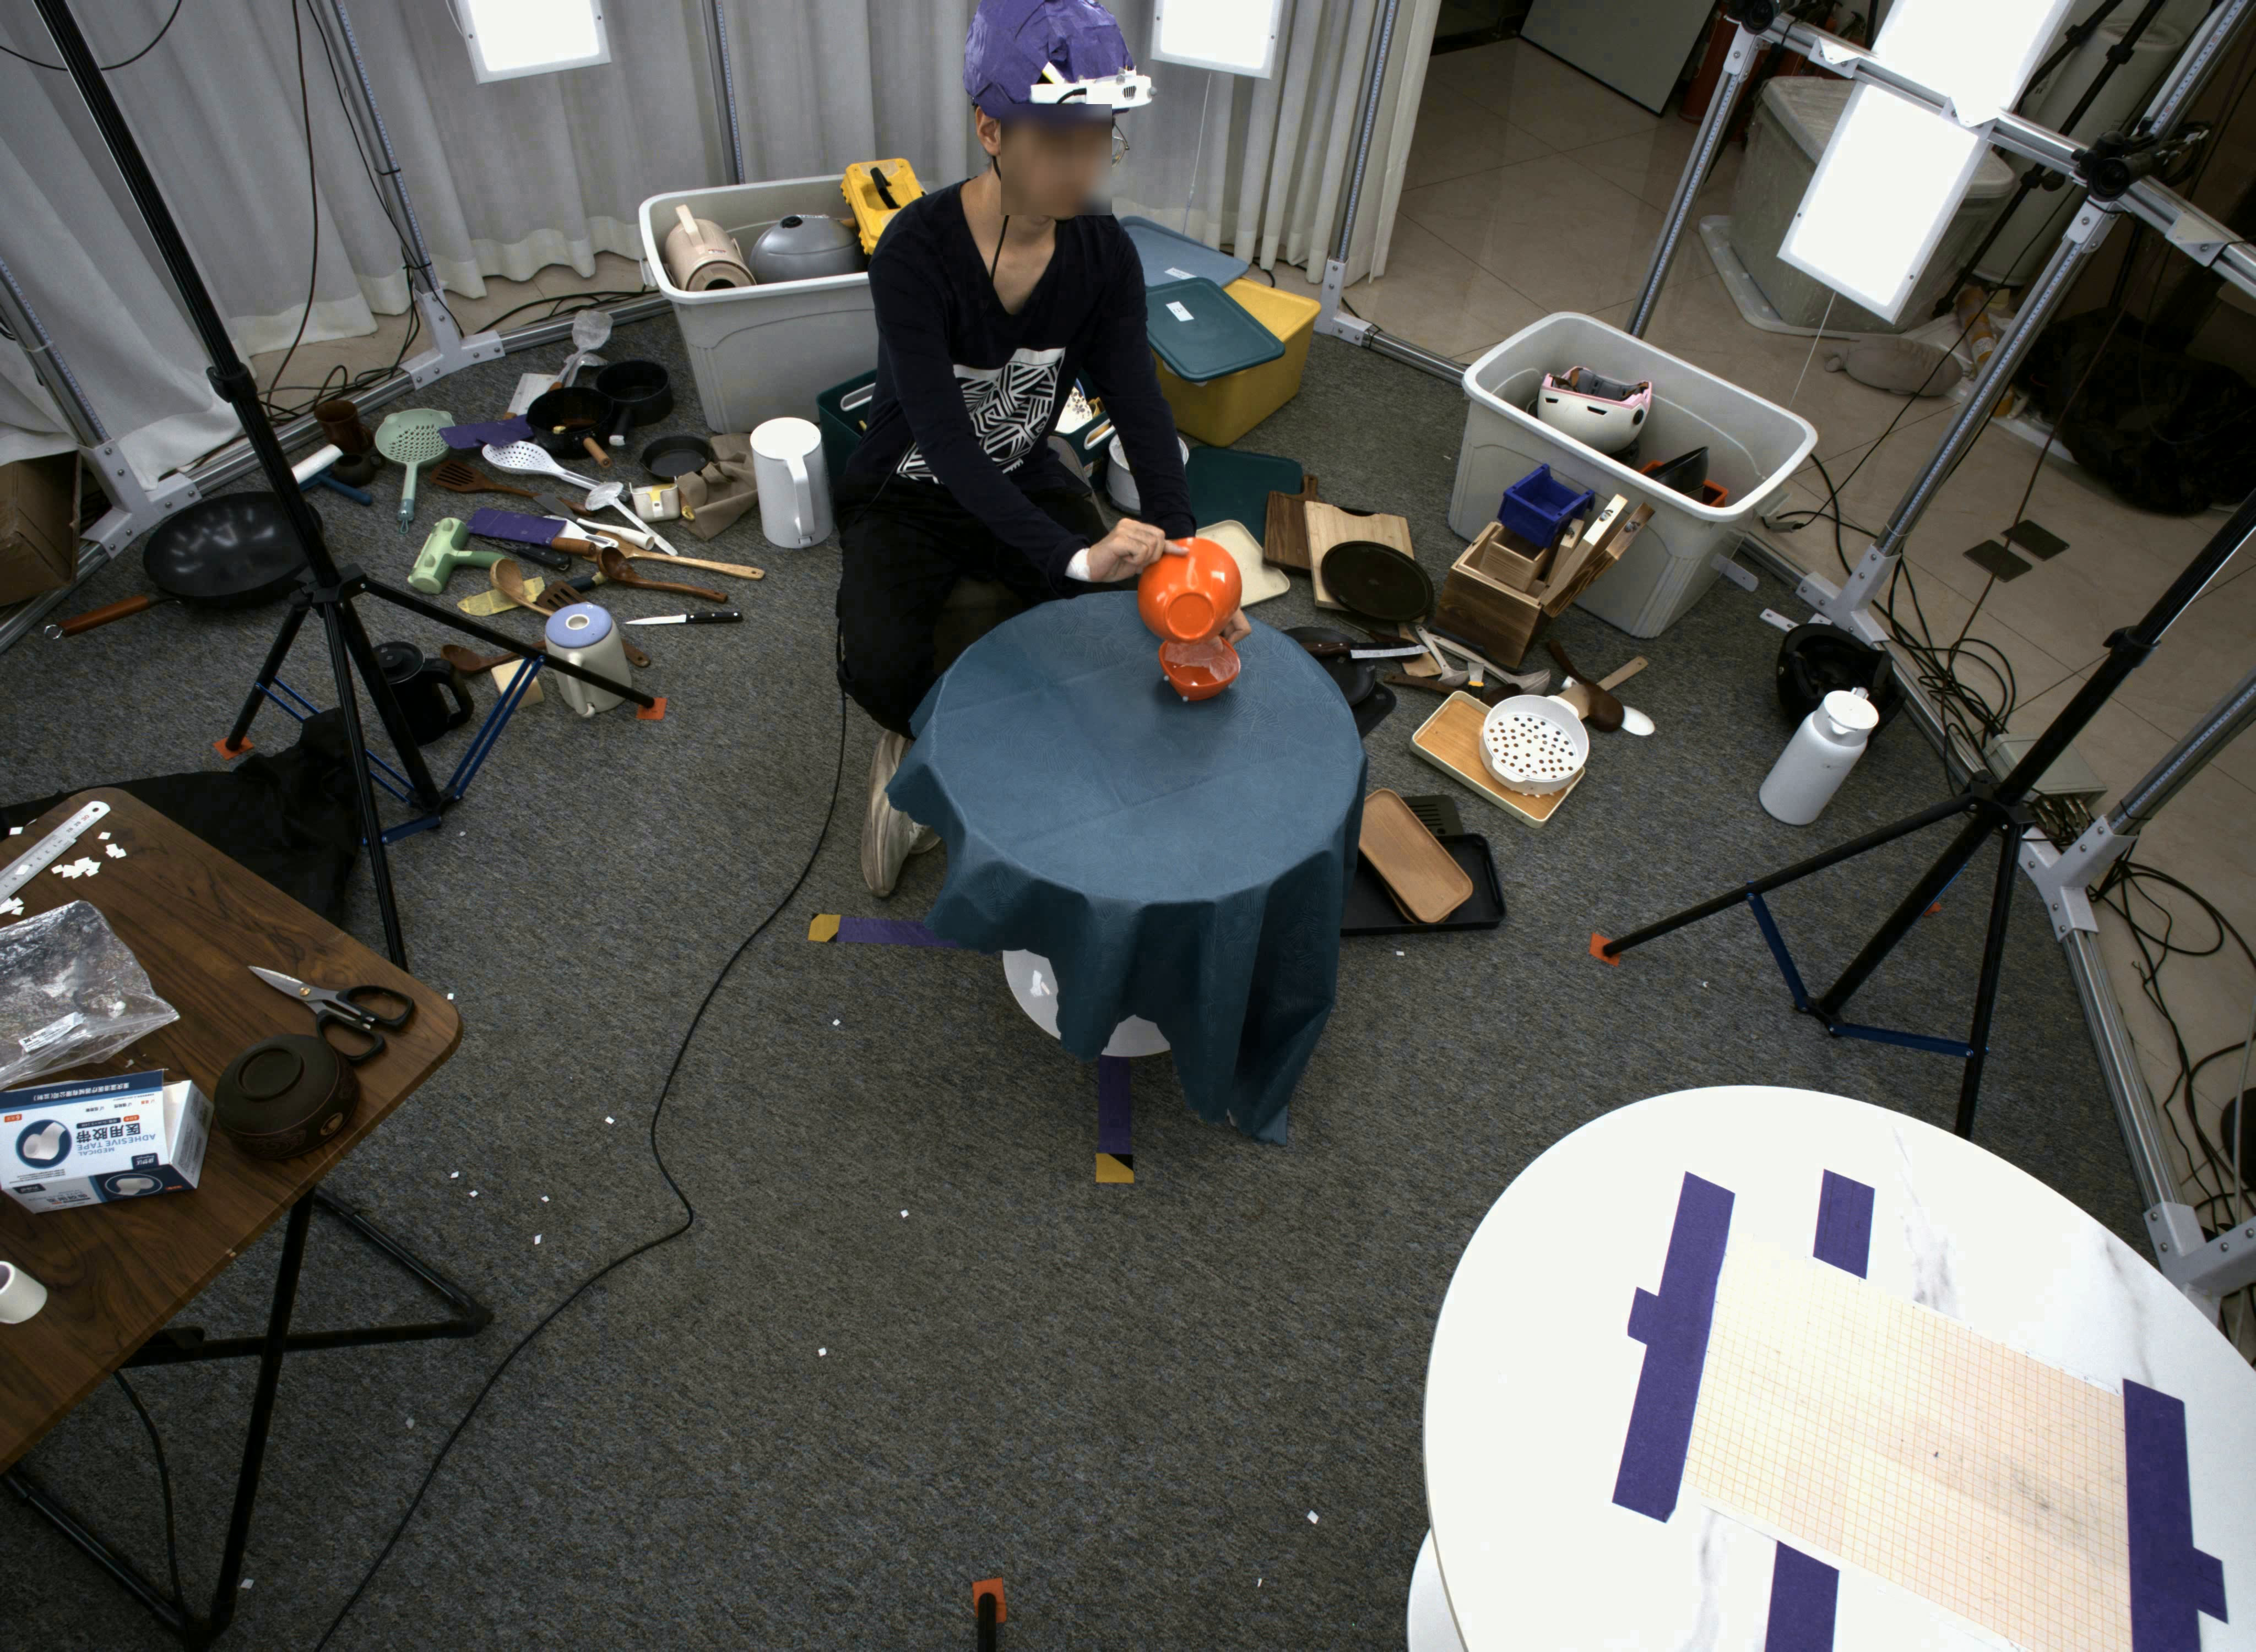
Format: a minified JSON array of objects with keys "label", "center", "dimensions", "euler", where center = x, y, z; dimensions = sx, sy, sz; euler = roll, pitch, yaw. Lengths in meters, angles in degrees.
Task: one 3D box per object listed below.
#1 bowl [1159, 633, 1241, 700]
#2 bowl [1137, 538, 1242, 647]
[{"label":"bowl","center":[0.100,-0.224,1.833],"dimensions":[0.119,0.050,0.122],"euler":[2,51,-2]},{"label":"bowl","center":[0.087,-0.299,1.713],"dimensions":[0.148,0.145,0.107],"euler":[0,28,-5]}]
